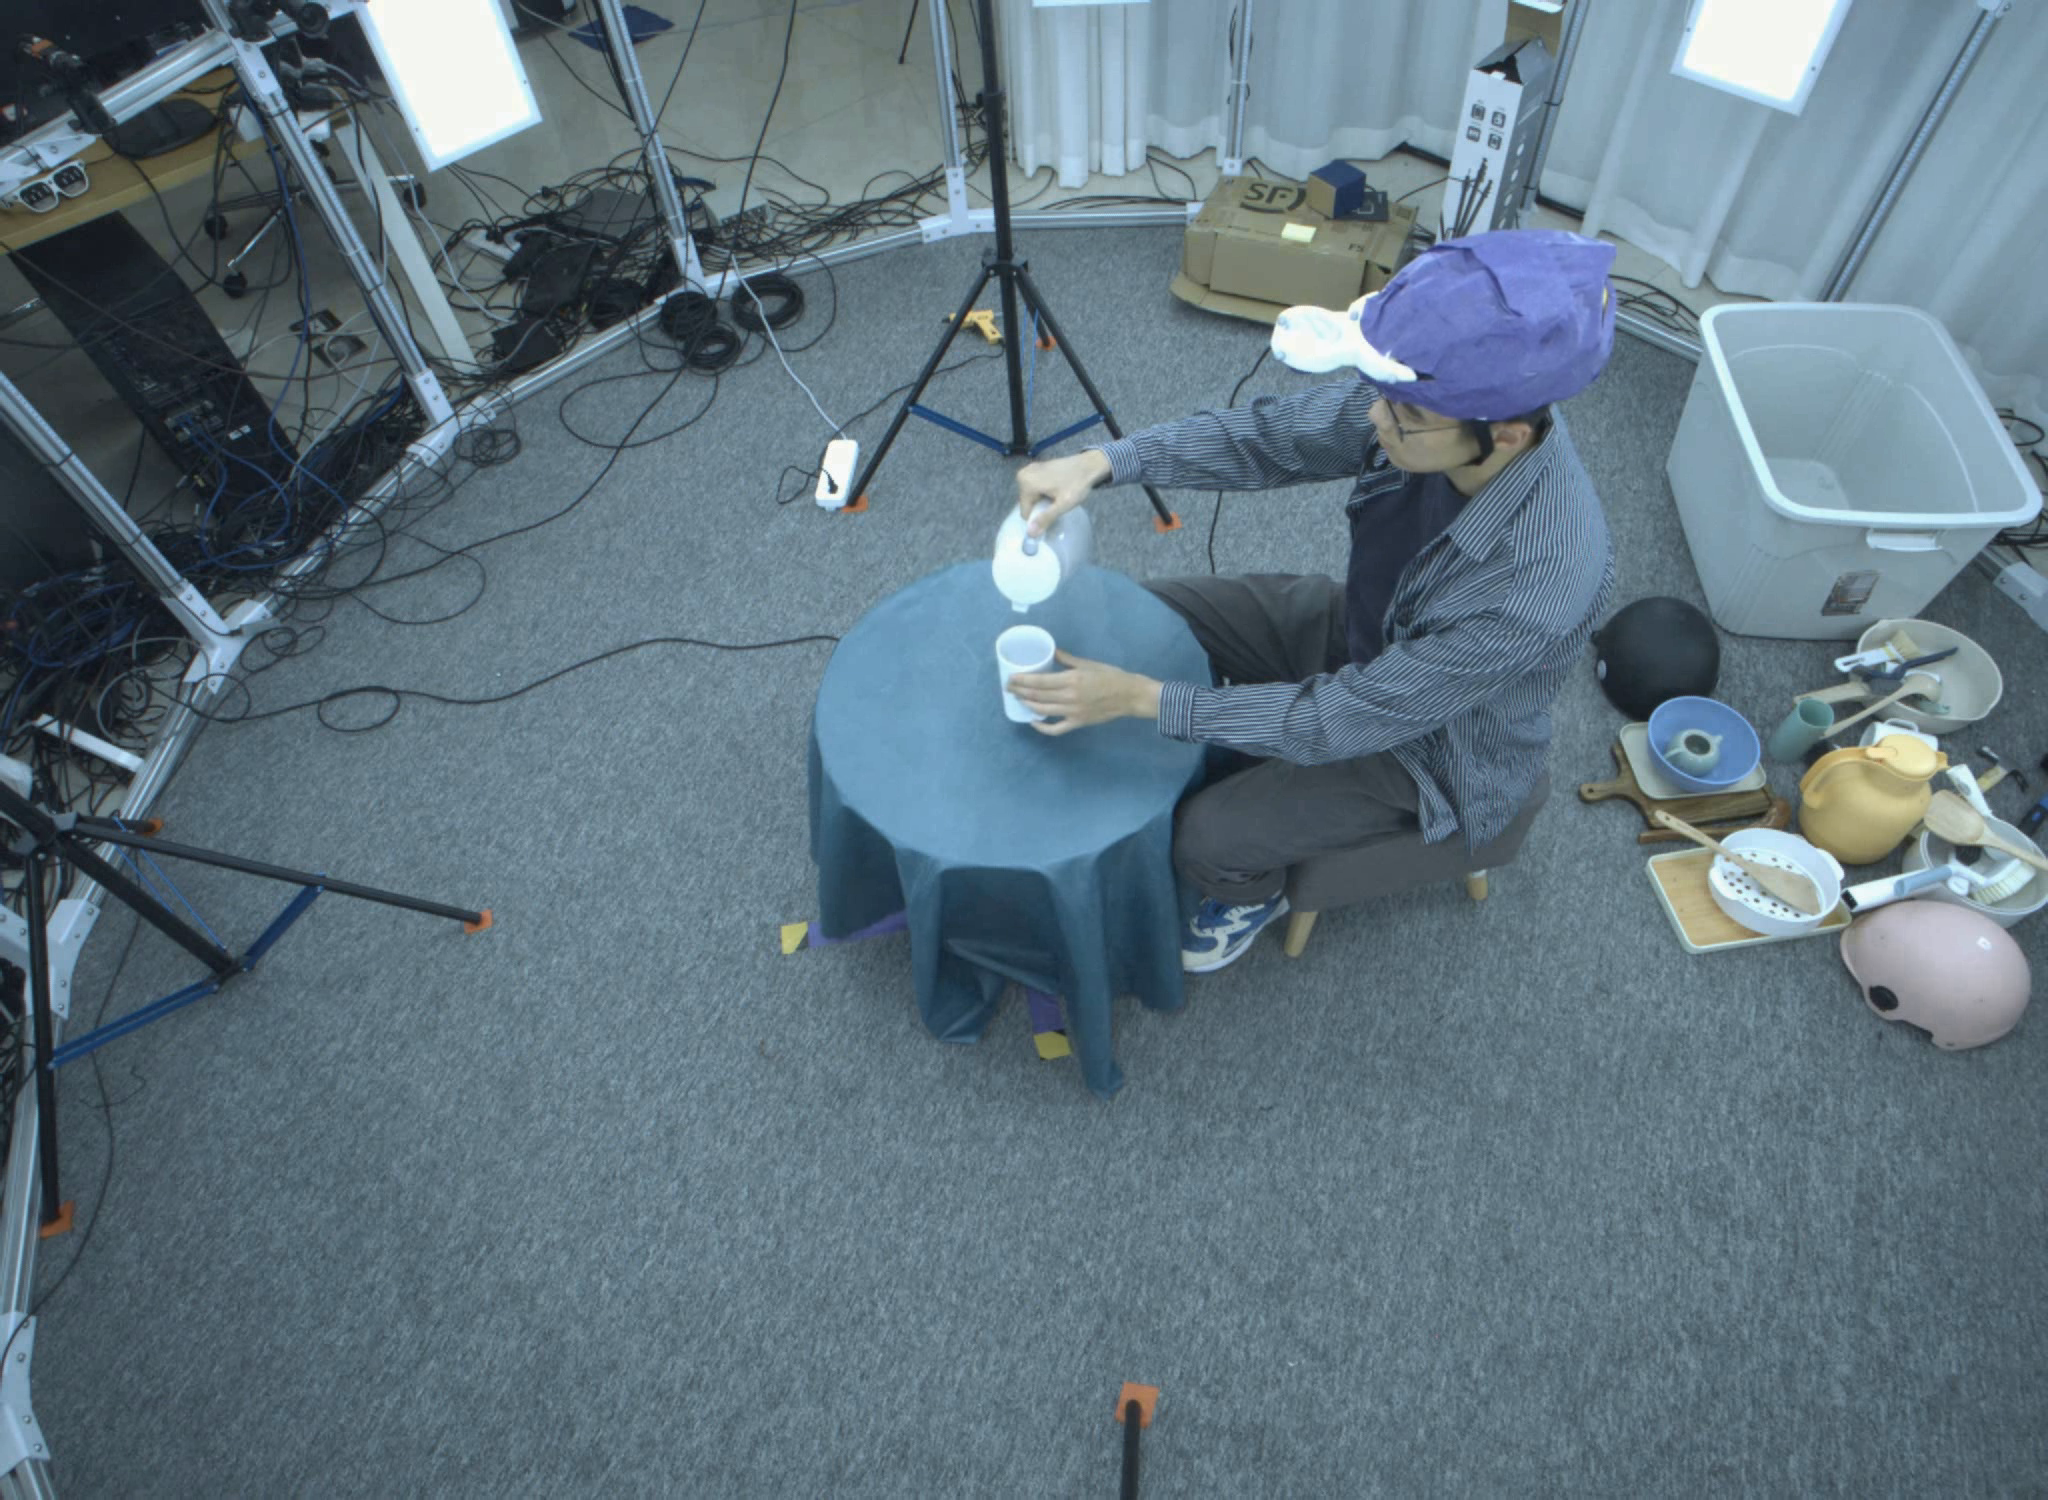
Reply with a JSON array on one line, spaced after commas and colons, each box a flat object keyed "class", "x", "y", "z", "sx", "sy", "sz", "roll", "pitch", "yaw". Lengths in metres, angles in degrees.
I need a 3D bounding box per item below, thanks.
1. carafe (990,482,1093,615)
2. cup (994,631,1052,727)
[{"class": "carafe", "x": 0.018, "y": -0.299, "z": 1.729, "sx": 0.132, "sy": 0.169, "sz": 0.248, "roll": 9, "pitch": 26, "yaw": 6}, {"class": "cup", "x": 0.000, "y": -0.096, "z": 1.736, "sx": 0.082, "sy": 0.127, "sz": 0.081, "roll": 0, "pitch": 52, "yaw": 1}]
